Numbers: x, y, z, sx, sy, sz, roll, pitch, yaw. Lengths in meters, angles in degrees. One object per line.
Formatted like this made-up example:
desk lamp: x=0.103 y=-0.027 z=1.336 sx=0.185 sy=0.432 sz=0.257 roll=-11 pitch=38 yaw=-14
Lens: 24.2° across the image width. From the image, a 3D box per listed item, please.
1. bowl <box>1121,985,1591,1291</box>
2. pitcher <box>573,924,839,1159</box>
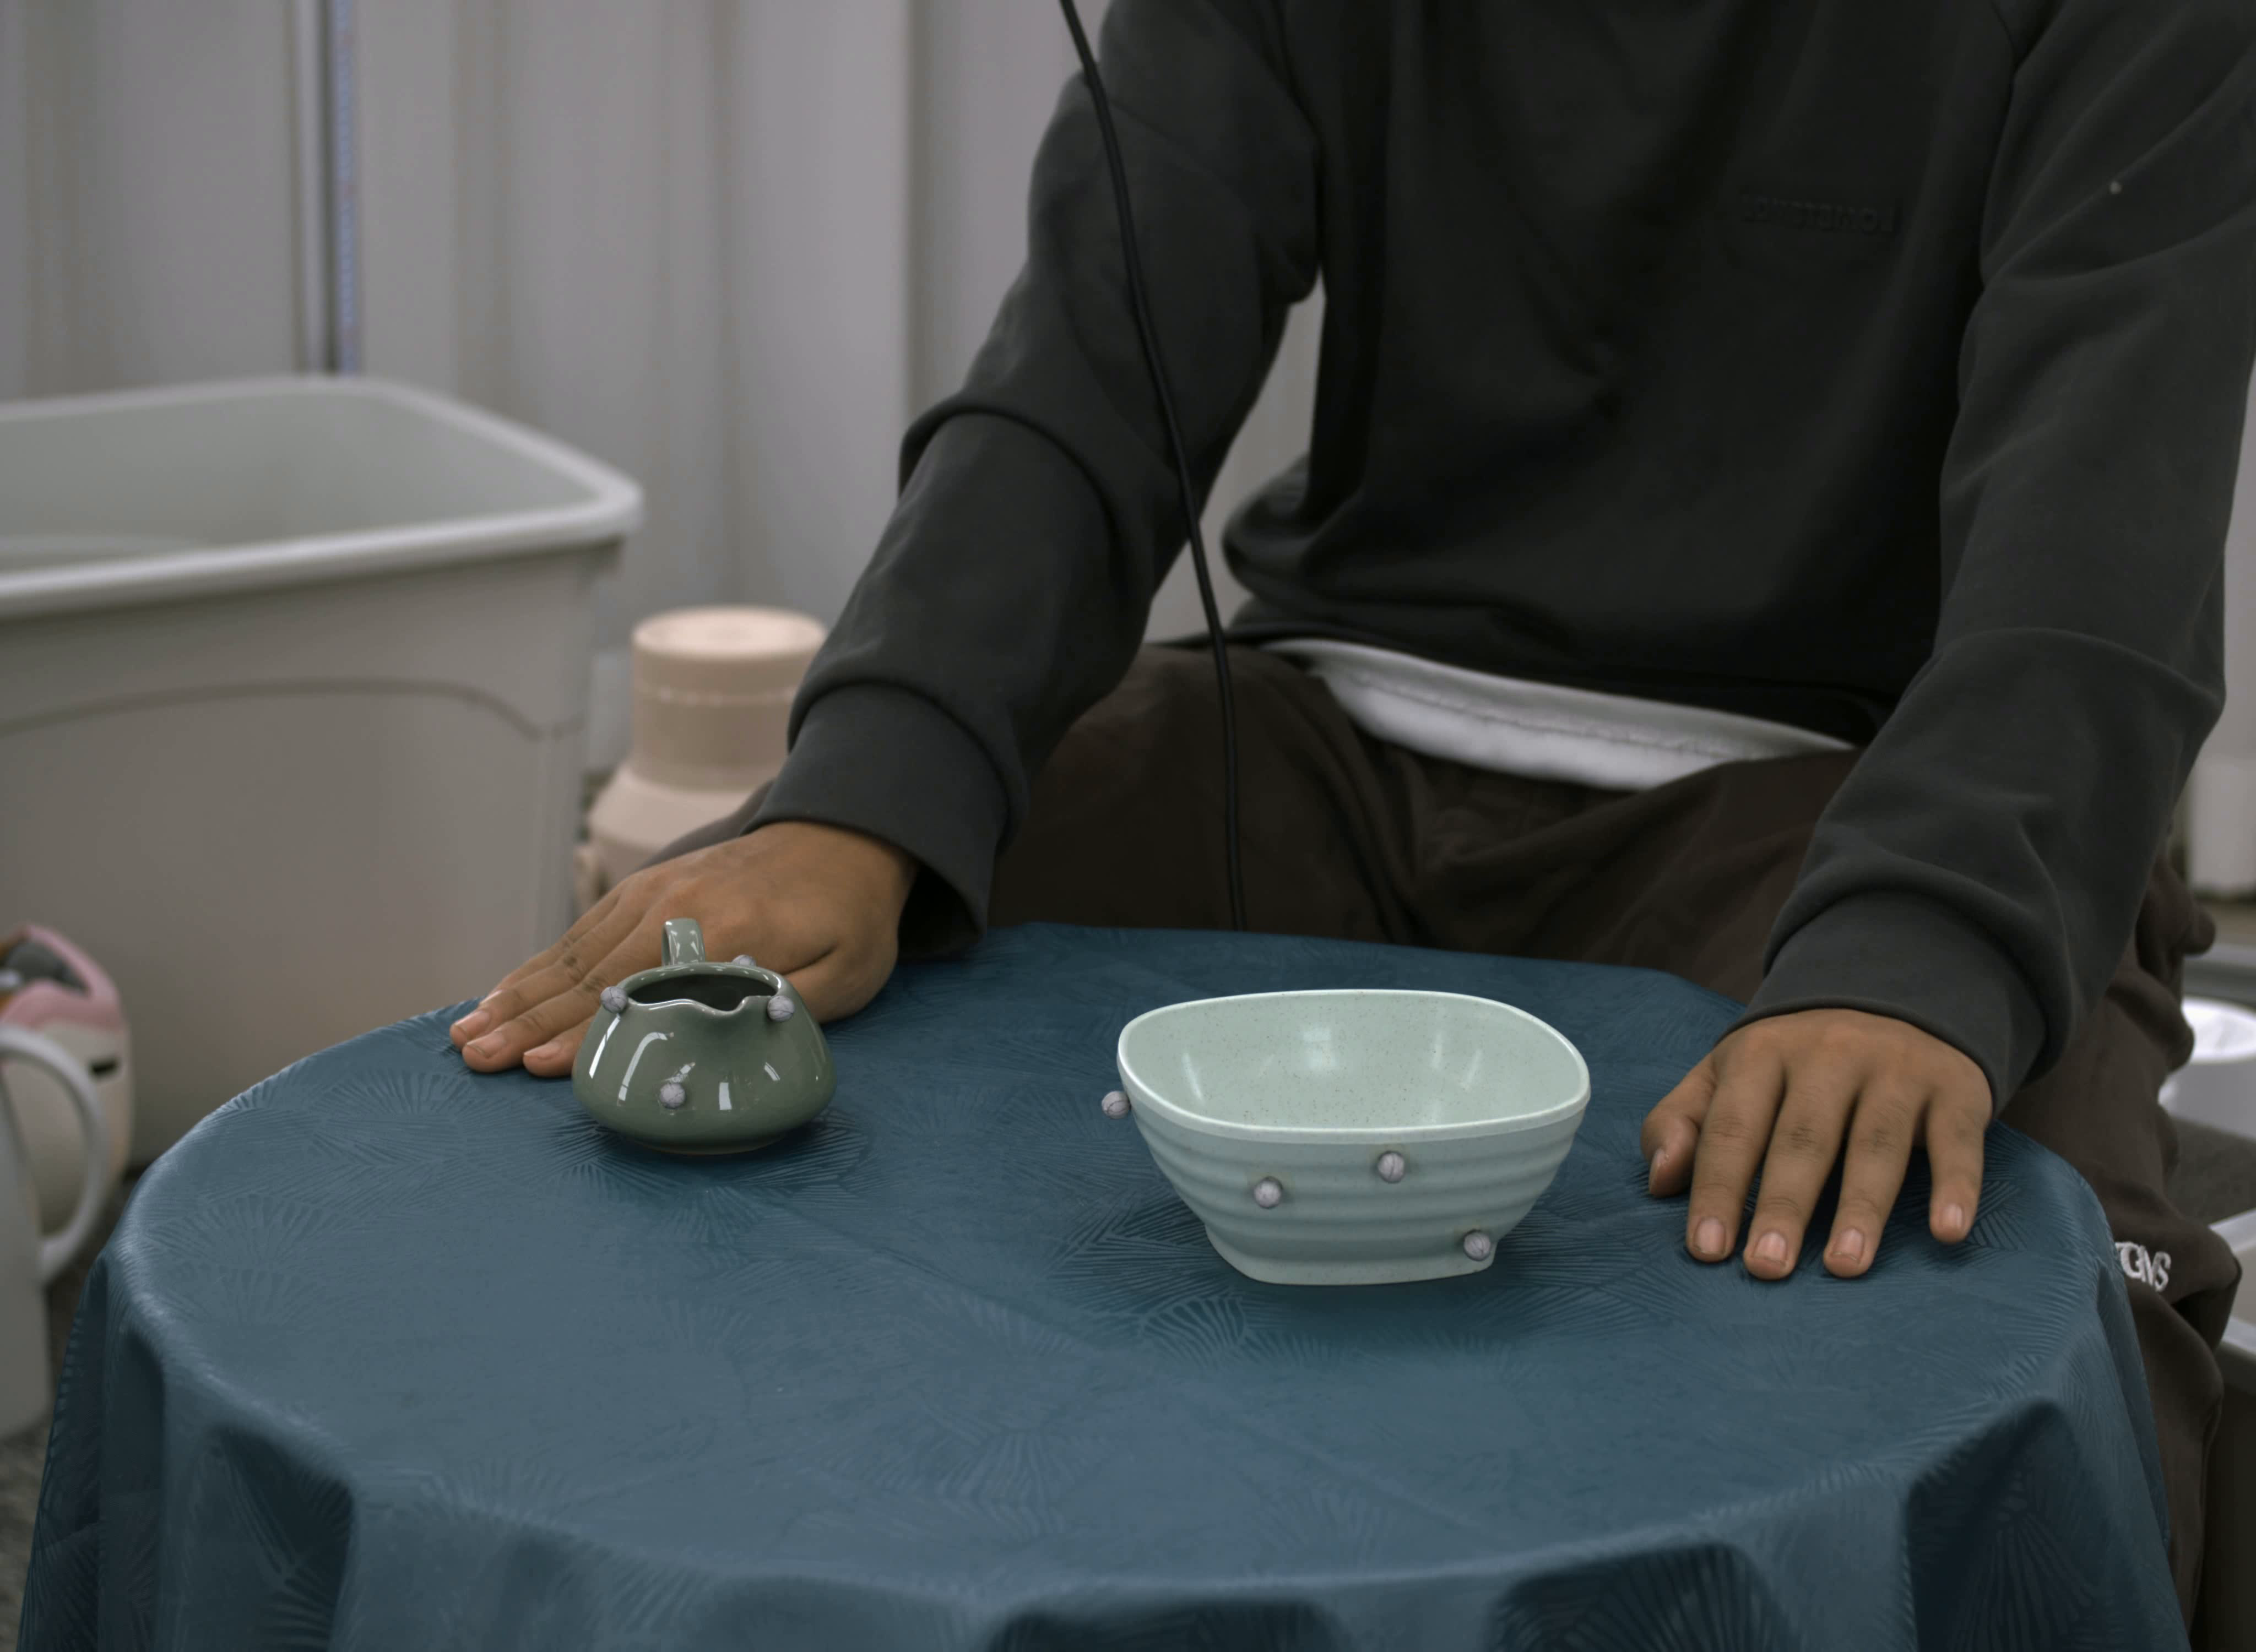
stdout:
bowl: x=0.068 y=0.097 z=1.582 sx=0.151 sy=0.059 sz=0.150 roll=1 pitch=17 yaw=0
pitcher: x=-0.135 y=0.069 z=1.675 sx=0.084 sy=0.056 sz=0.111 roll=-3 pitch=15 yaw=-14
